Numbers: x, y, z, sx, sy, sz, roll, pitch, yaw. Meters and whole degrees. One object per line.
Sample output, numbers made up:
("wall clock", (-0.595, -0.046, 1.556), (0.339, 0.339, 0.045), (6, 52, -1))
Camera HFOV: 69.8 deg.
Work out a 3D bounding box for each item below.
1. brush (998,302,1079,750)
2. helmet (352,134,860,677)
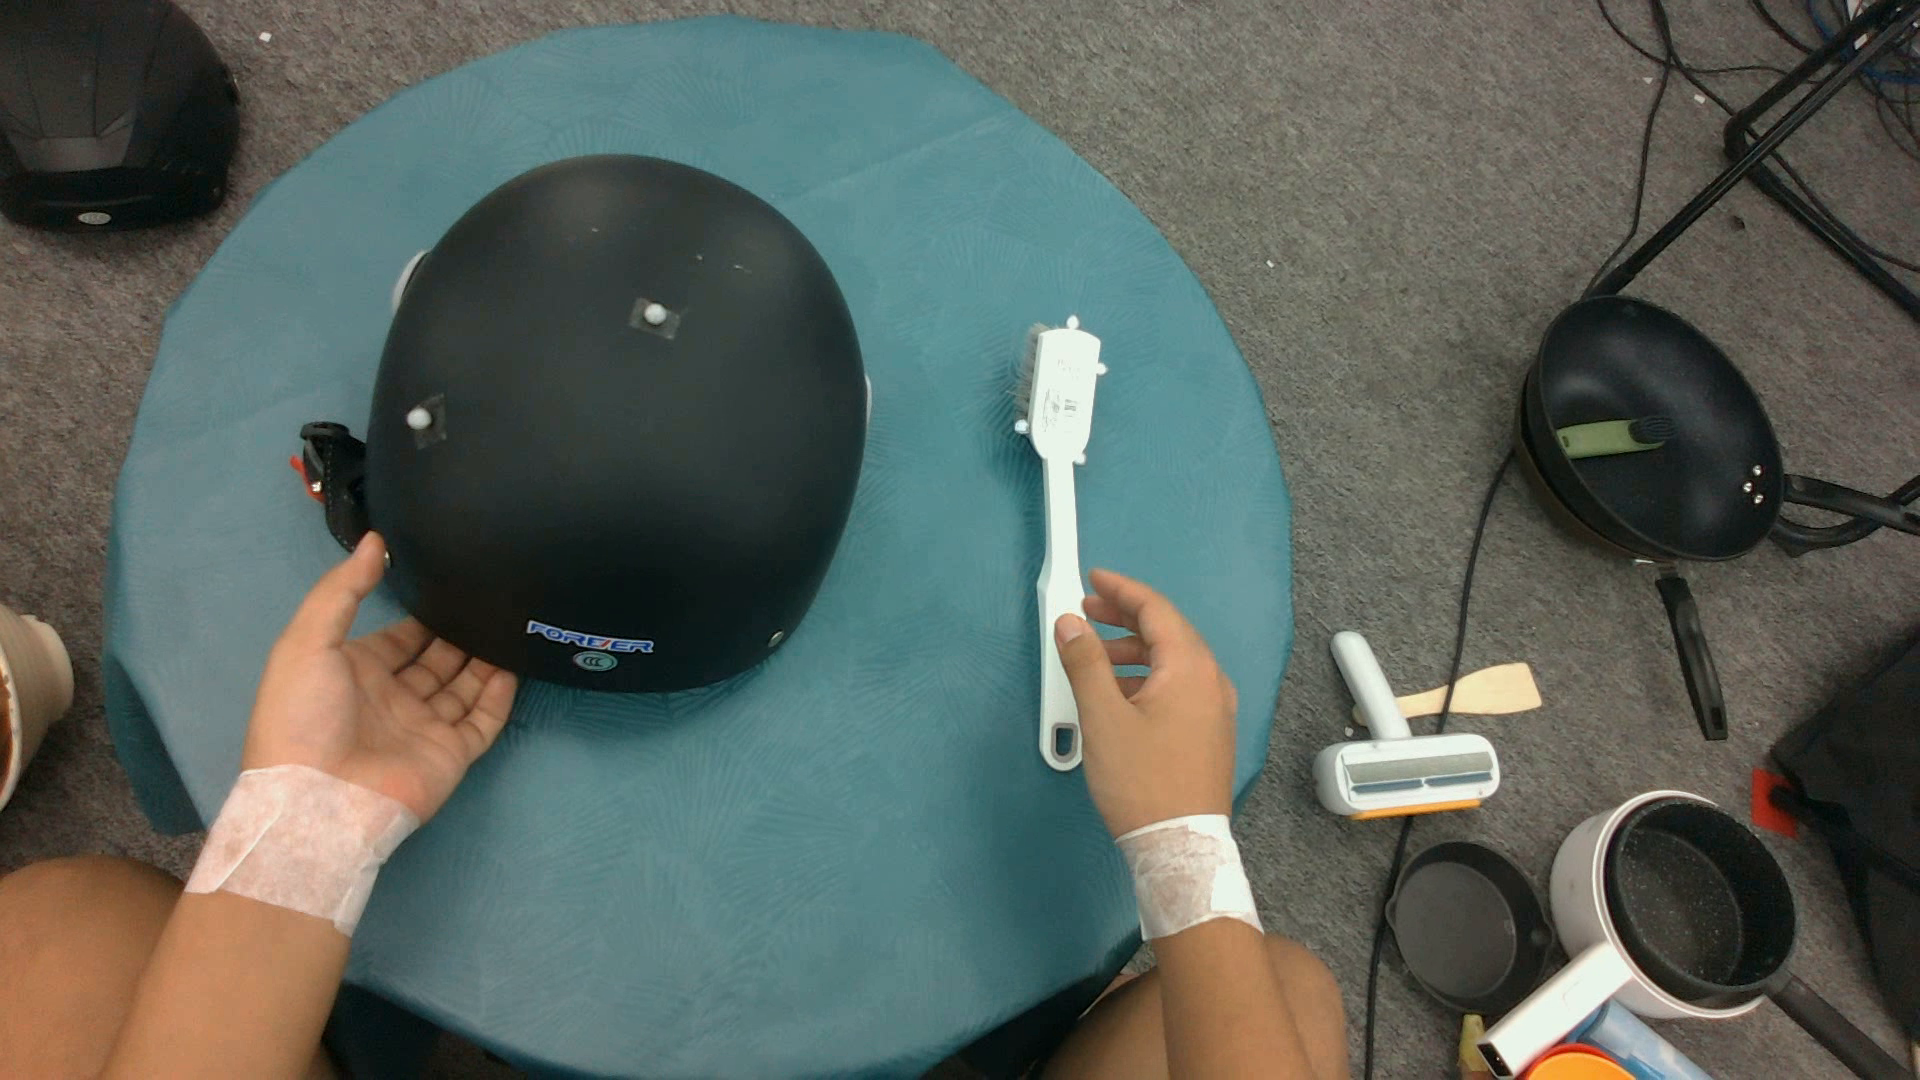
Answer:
("brush", (0.042, -0.011, 0.734), (0.034, 0.050, 0.244), (3, 80, -17))
("helmet", (-0.152, -0.081, 0.631), (0.230, 0.166, 0.274), (16, 61, -16))
